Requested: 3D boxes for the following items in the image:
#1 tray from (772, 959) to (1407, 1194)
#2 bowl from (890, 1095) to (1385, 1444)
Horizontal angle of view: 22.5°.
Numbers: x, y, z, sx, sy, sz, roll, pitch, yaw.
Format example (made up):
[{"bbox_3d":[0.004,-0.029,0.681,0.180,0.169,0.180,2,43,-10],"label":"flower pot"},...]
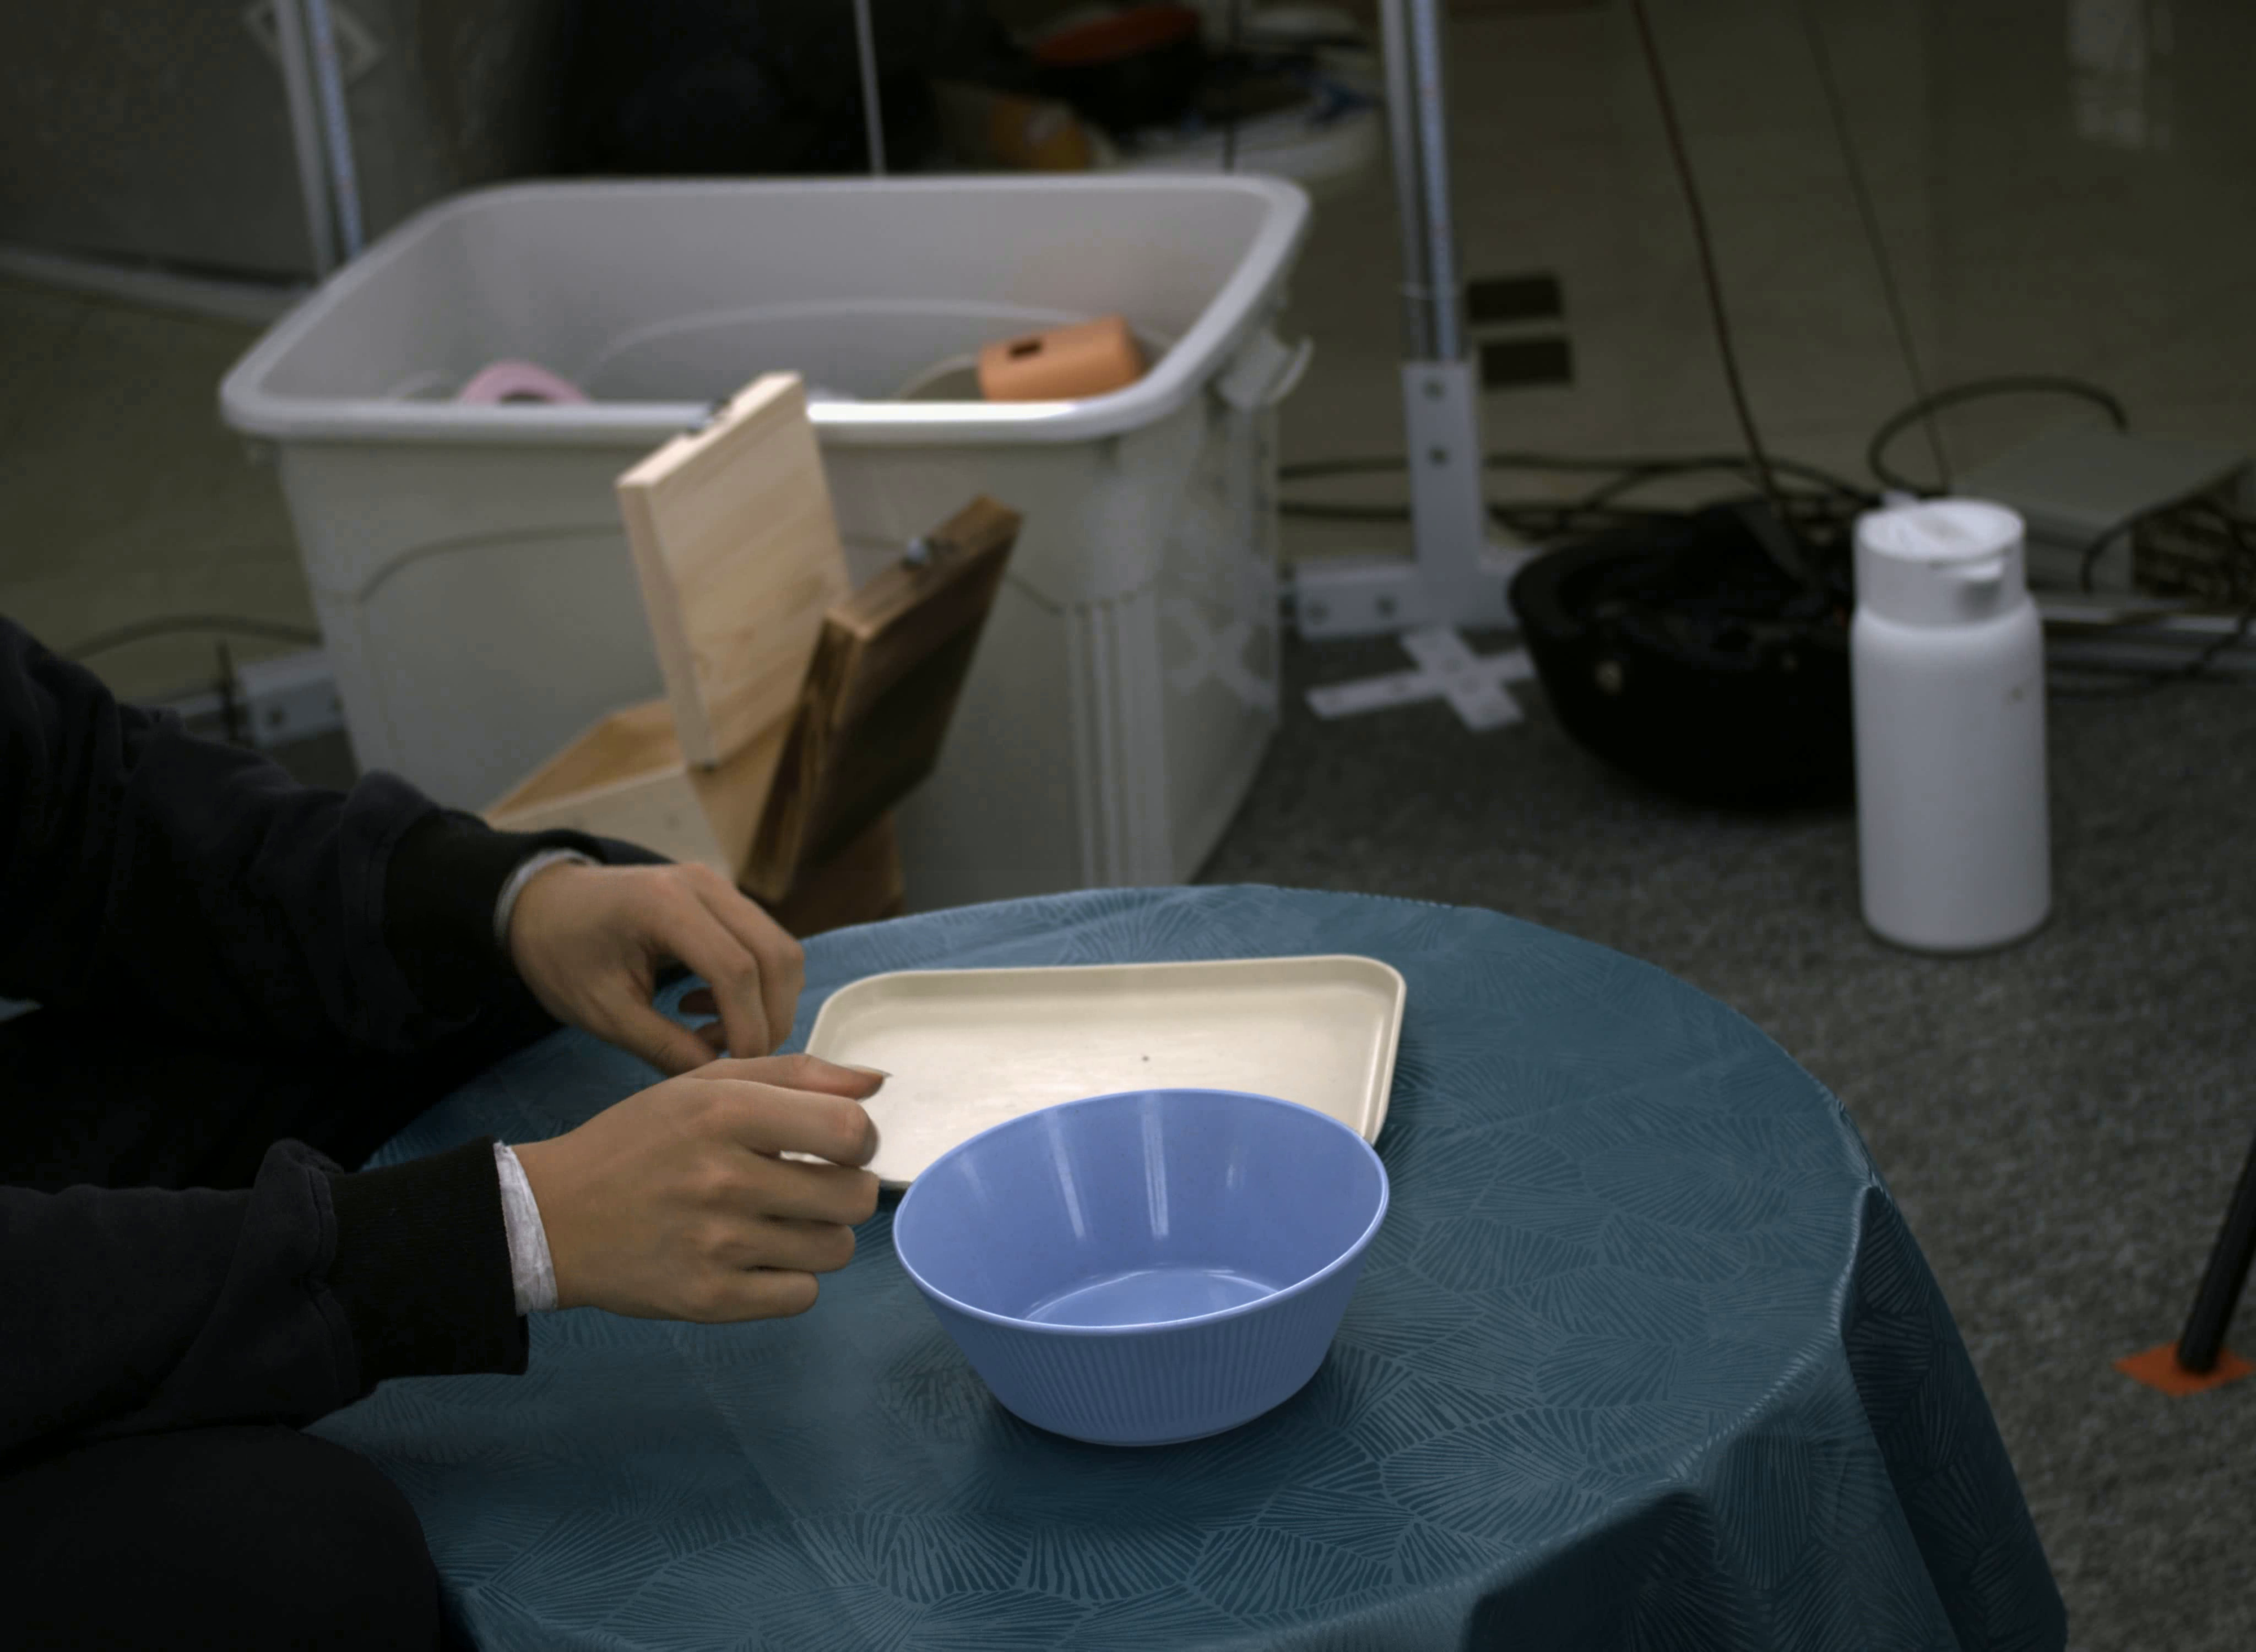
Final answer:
[{"bbox_3d":[-0.013,0.099,2.220,0.239,0.018,0.169,-2,25,9],"label":"tray"},{"bbox_3d":[0.006,0.163,2.015,0.176,0.071,0.173,-4,25,2],"label":"bowl"}]
